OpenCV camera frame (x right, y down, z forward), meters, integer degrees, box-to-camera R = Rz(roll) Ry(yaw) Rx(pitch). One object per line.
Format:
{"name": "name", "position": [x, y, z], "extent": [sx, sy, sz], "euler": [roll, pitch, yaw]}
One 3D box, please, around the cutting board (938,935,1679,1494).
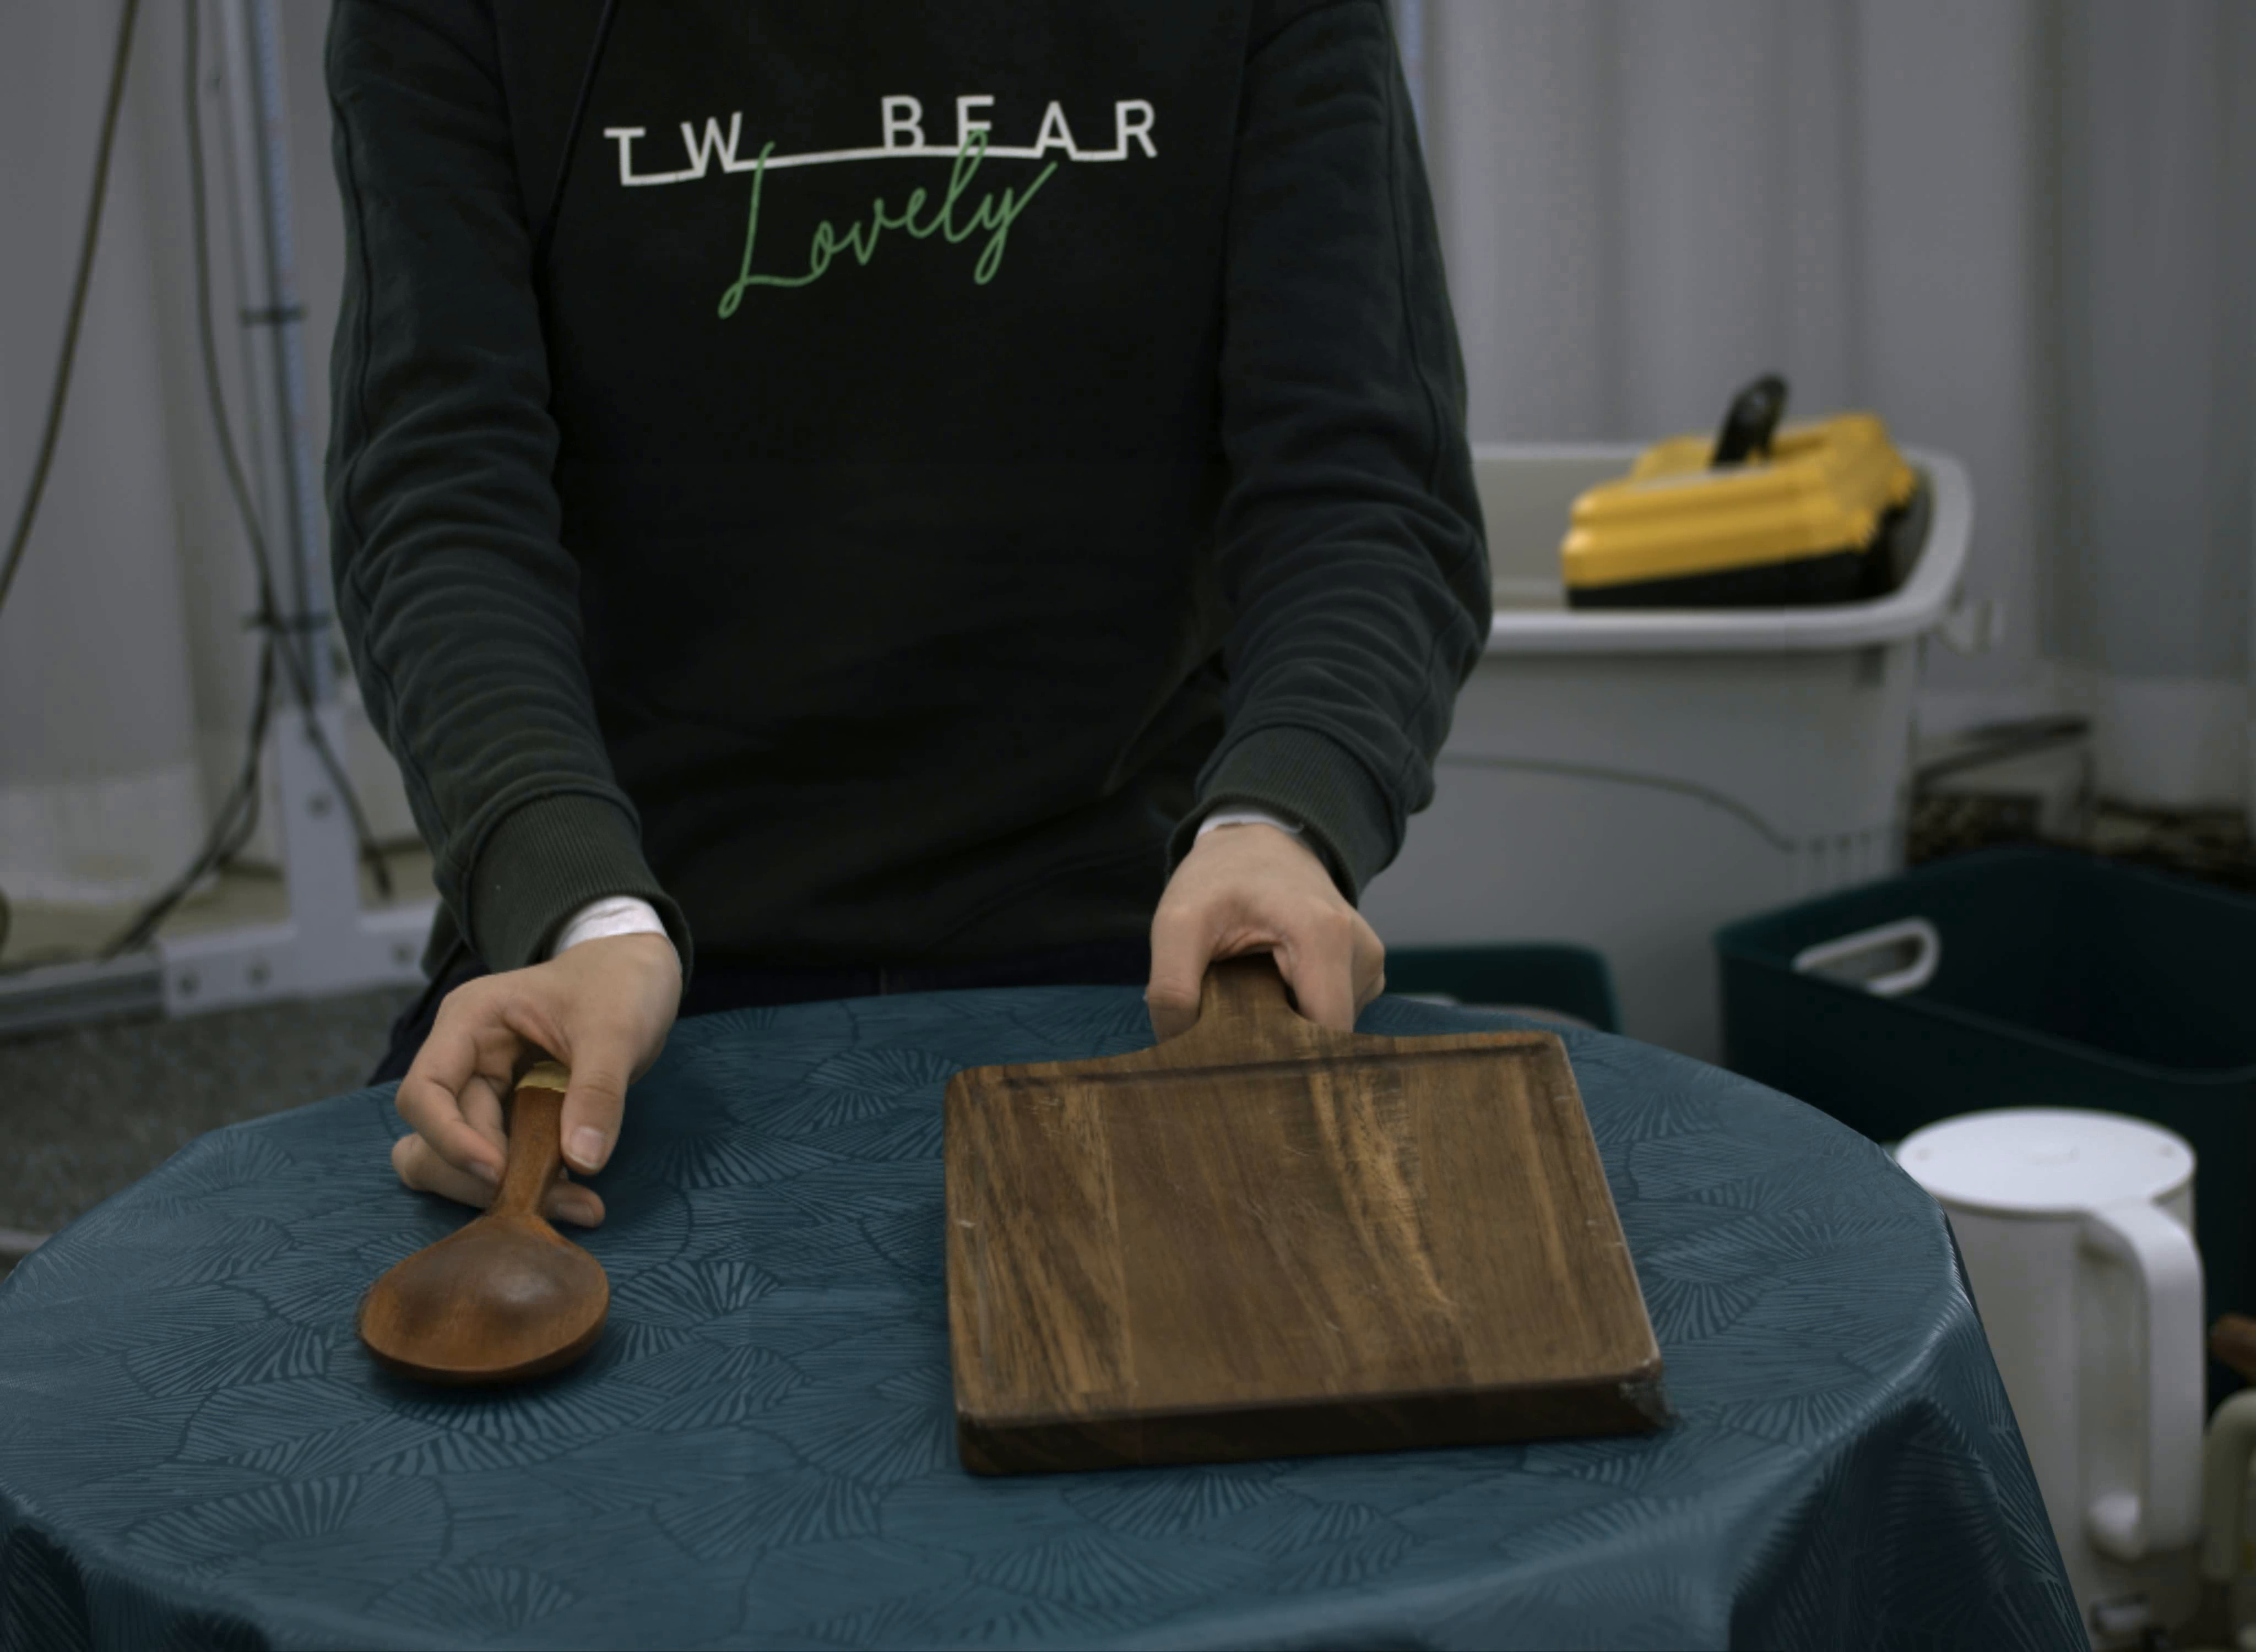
{"name": "cutting board", "position": [0.044, 0.105, 1.648], "extent": [0.200, 0.023, 0.355], "euler": [-5, 20, -1]}

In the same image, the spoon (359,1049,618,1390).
{"name": "spoon", "position": [-0.184, 0.120, 1.657], "extent": [0.075, 0.017, 0.218], "euler": [-4, 23, 4]}
